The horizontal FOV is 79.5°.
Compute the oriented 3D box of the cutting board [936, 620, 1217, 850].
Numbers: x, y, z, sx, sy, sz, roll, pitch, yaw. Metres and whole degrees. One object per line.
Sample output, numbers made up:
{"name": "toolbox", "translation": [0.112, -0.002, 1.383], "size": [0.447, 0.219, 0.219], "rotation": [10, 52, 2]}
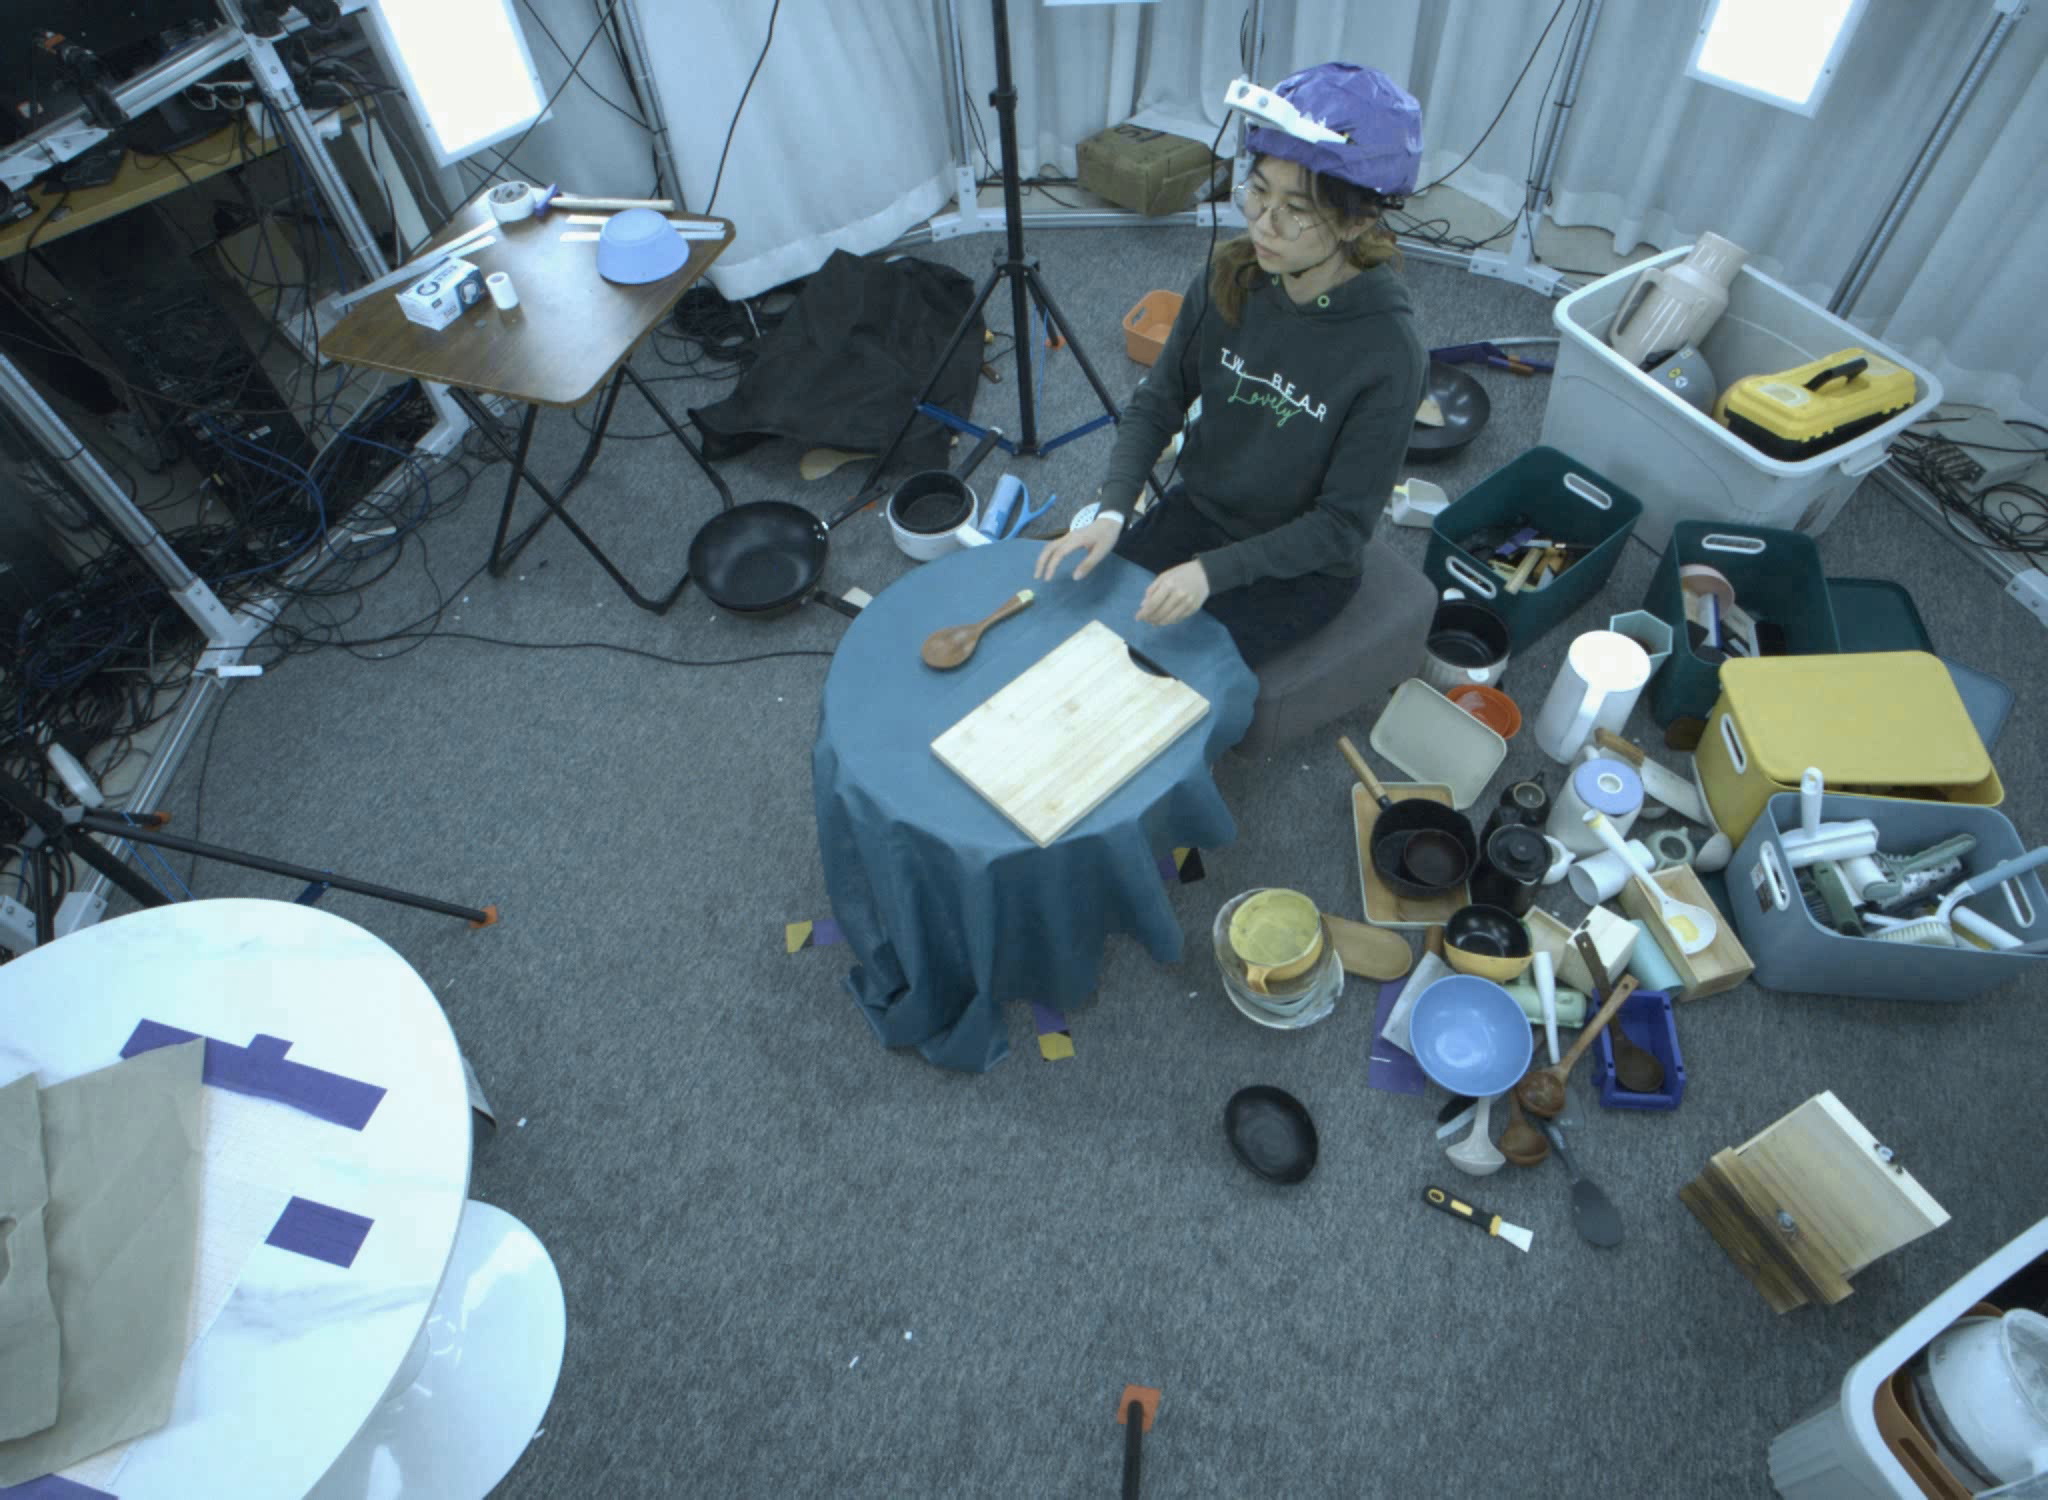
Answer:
{"name": "cutting board", "translation": [0.077, -0.032, 1.808], "size": [0.351, 0.024, 0.246], "rotation": [-40, 63, -23]}

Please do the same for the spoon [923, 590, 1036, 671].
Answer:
{"name": "spoon", "translation": [-0.066, -0.187, 1.920], "size": [0.217, 0.017, 0.074], "rotation": [-37, 60, -21]}
